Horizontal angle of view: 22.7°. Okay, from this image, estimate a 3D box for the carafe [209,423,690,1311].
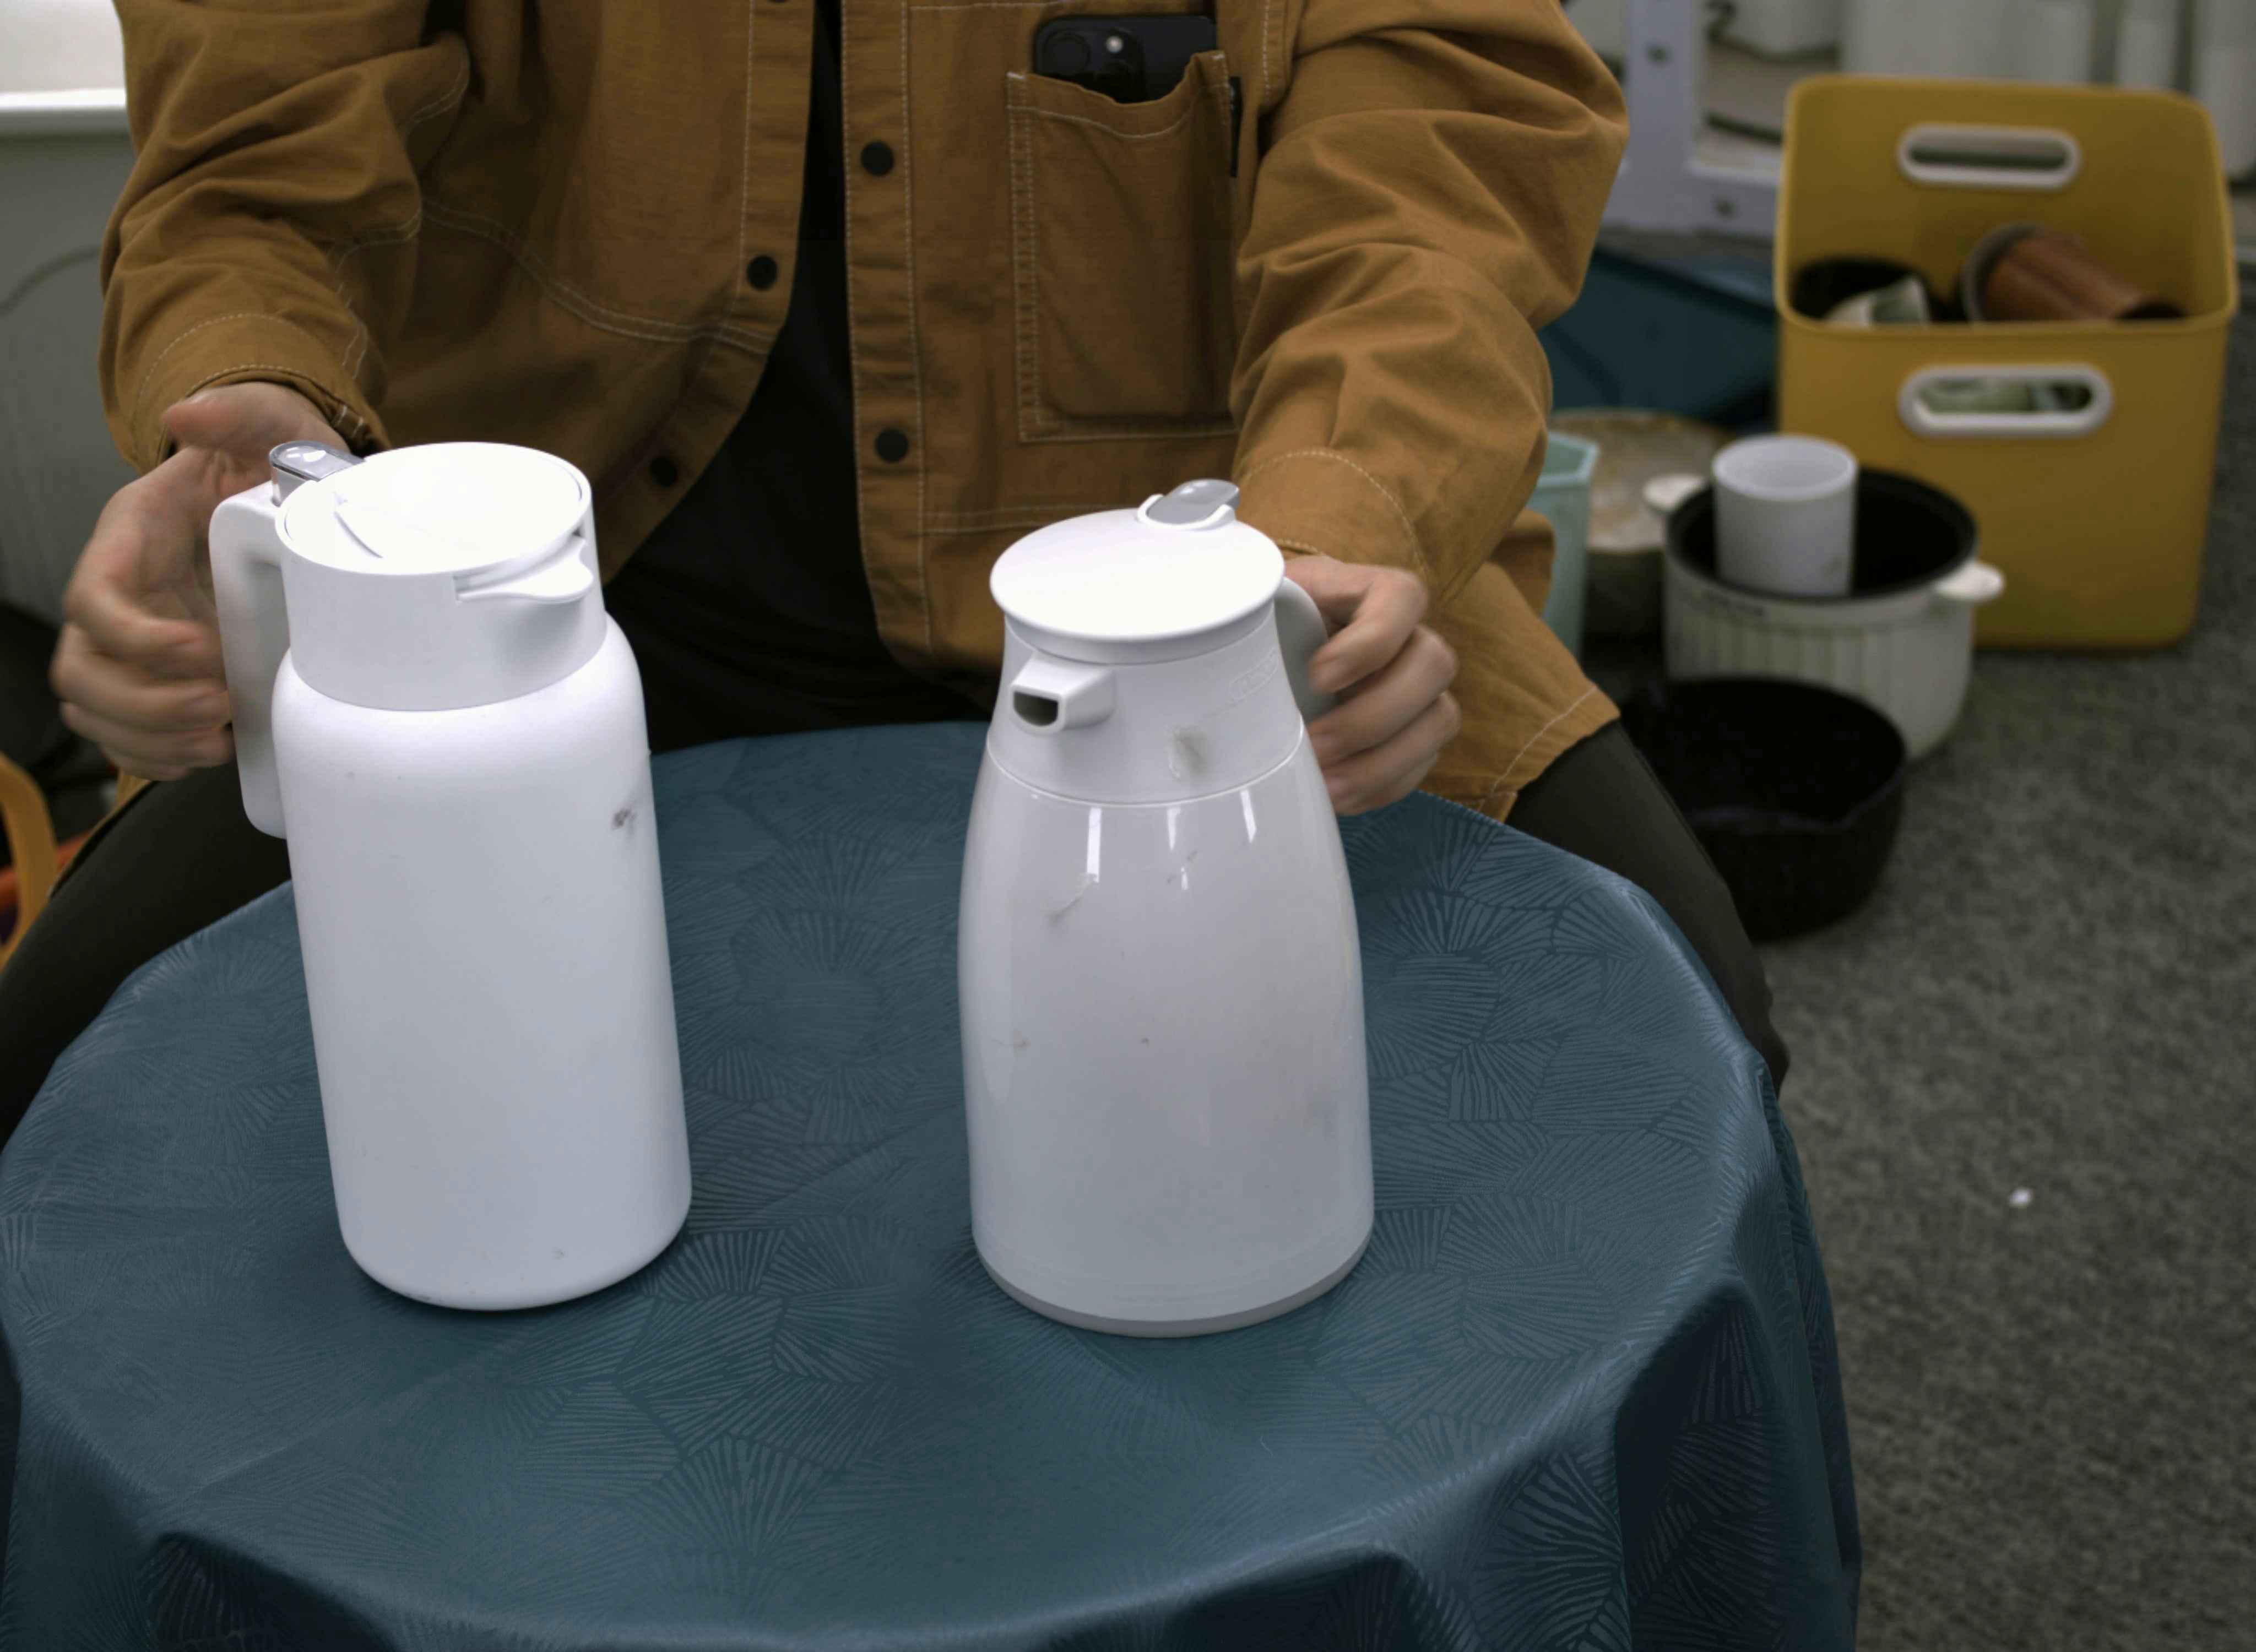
[{"bbox_3d":[-0.222,0.011,1.807,0.172,0.266,0.125,20,36,39],"label":"carafe"}]

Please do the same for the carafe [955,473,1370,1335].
[{"bbox_3d":[0.017,0.014,1.799,0.132,0.246,0.170,11,29,27],"label":"carafe"}]
